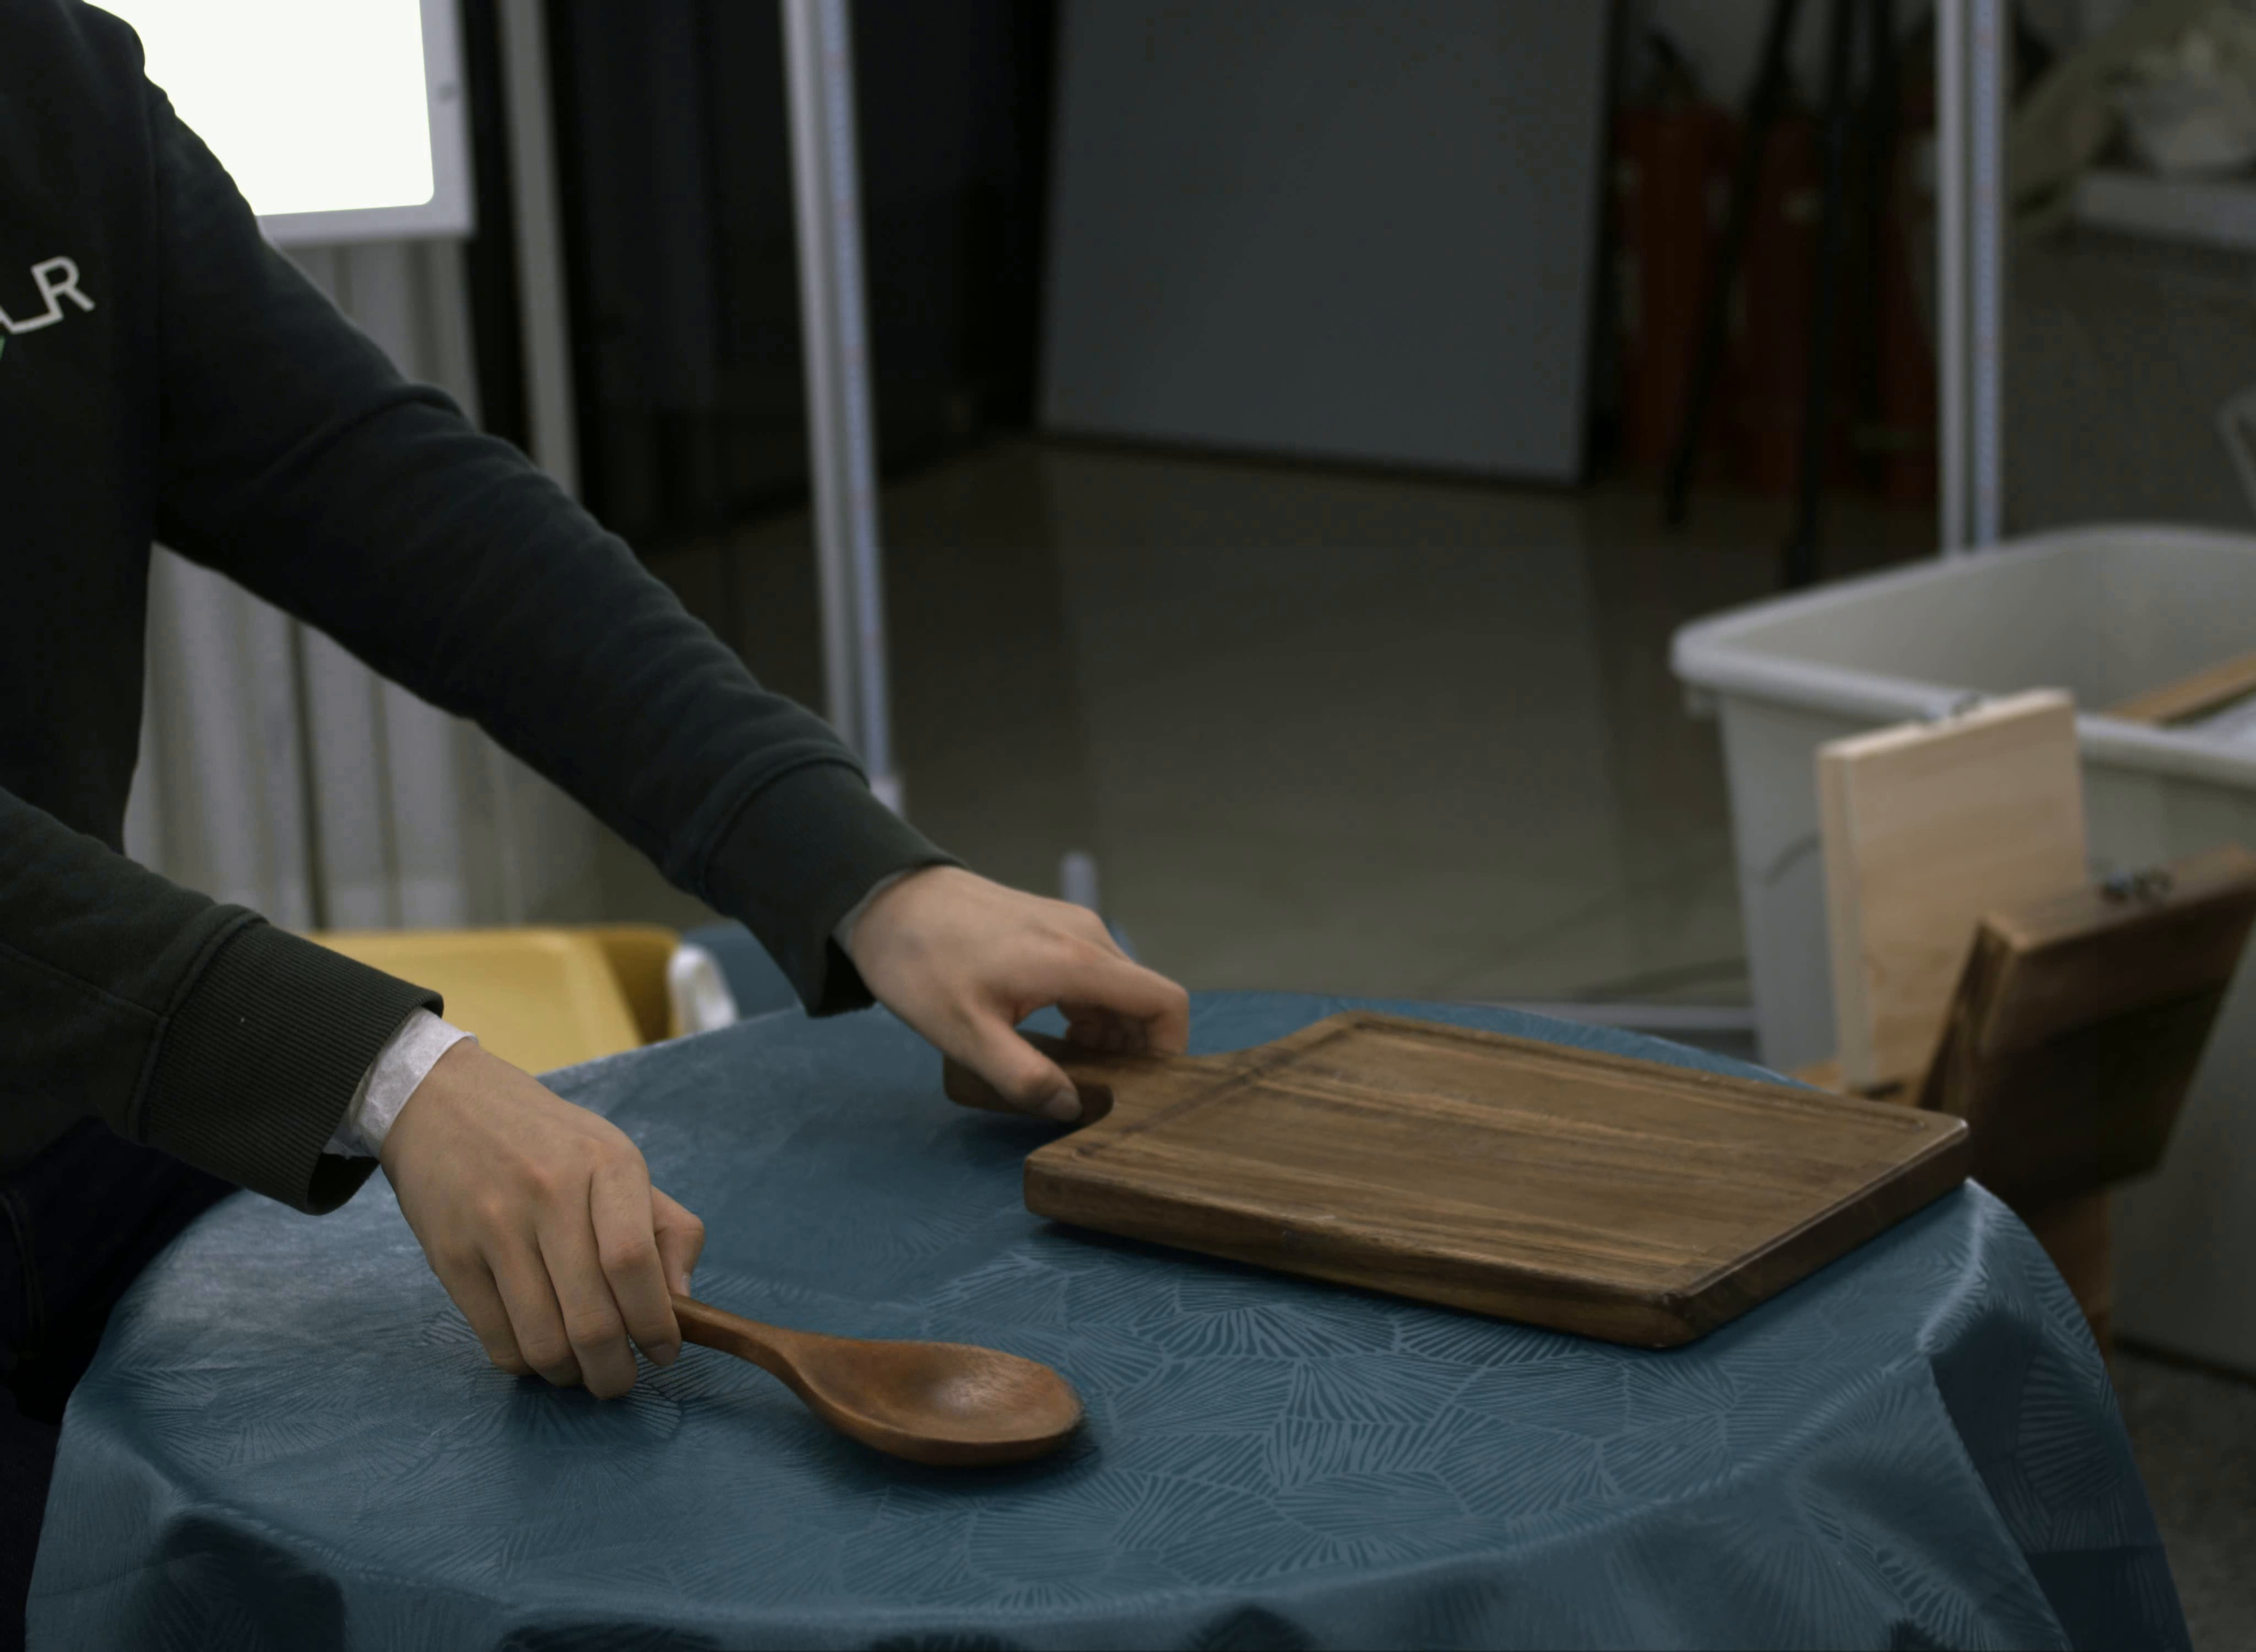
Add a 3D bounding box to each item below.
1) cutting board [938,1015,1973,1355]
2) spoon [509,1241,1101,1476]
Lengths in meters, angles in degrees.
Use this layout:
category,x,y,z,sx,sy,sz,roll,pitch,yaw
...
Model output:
category,x,y,z,sx,sy,sz,roll,pitch,yaw
cutting board,0.080,0.105,1.759,0.354,0.023,0.197,8,19,37
spoon,-0.100,0.156,1.589,0.217,0.017,0.074,15,23,36
